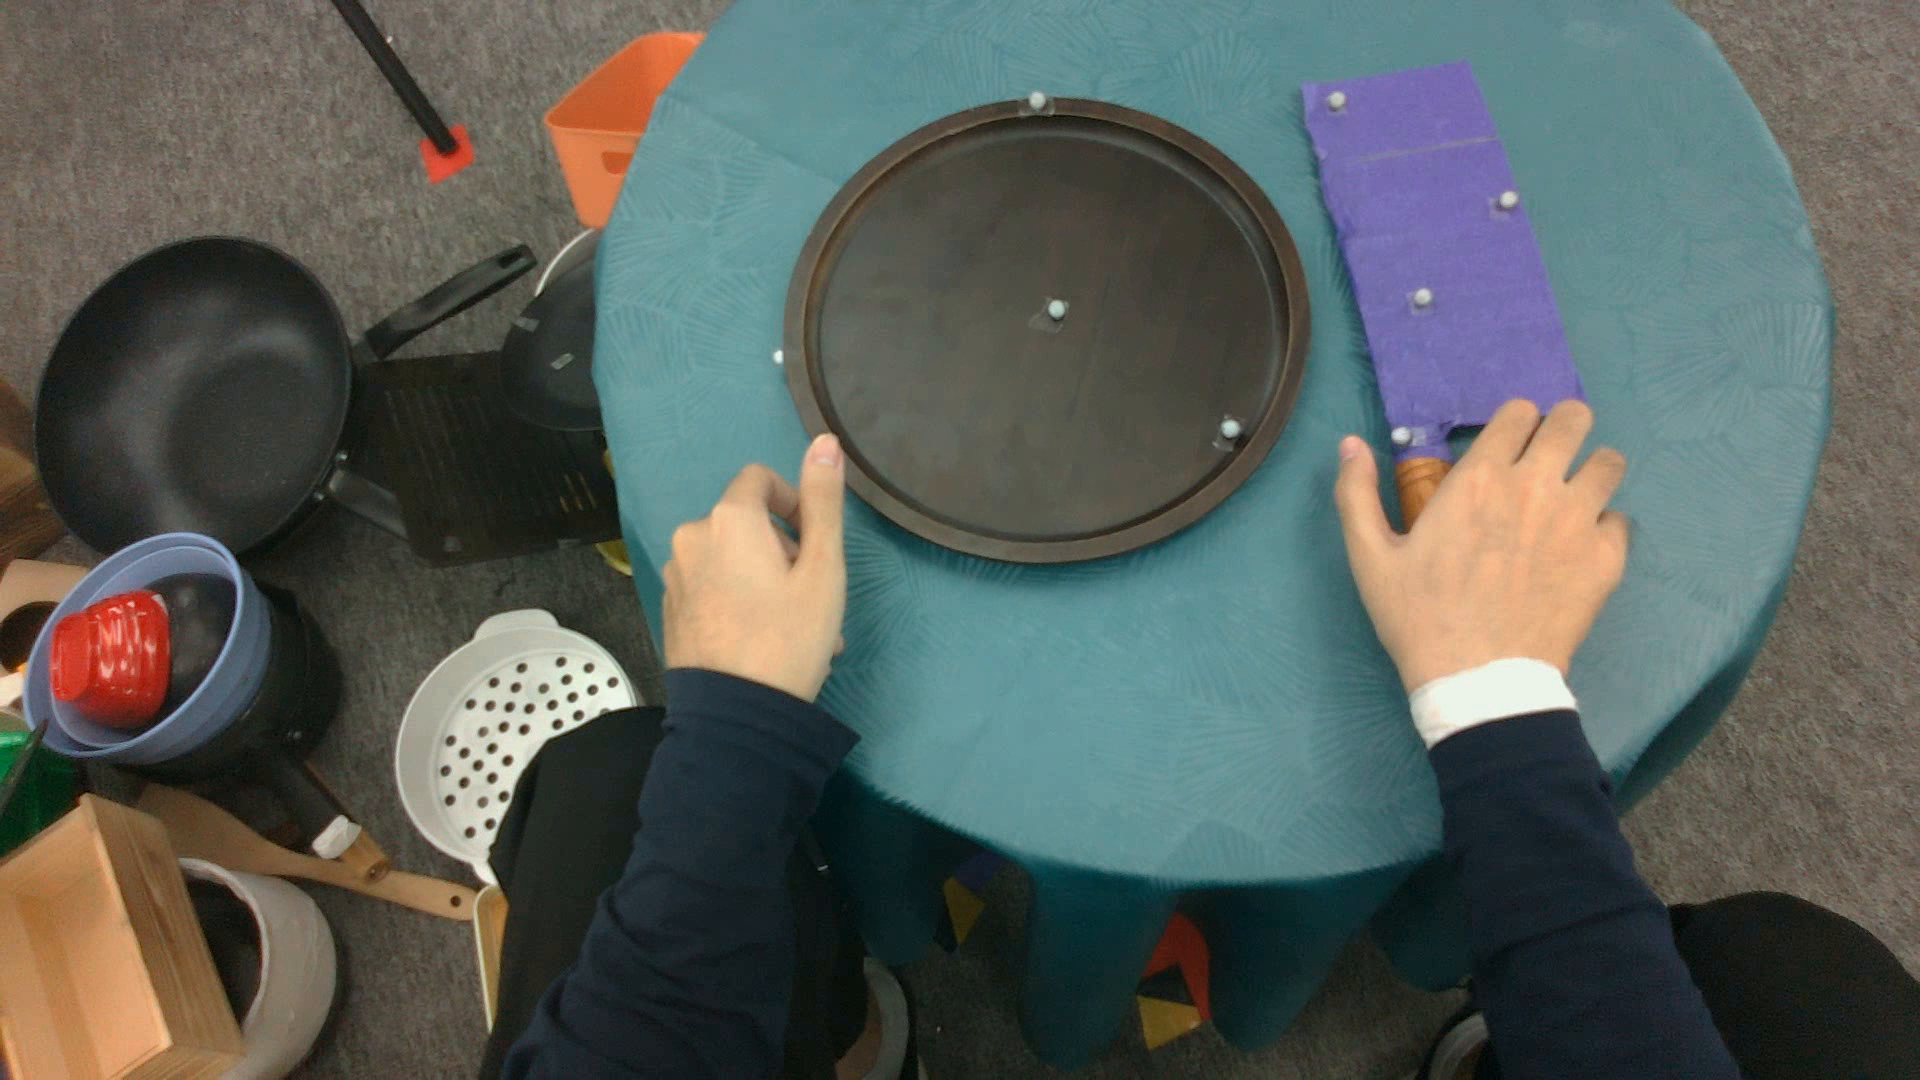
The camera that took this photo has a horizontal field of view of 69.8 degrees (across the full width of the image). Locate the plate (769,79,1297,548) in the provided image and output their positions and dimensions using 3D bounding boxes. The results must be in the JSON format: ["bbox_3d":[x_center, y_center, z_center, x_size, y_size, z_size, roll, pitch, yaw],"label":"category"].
[{"bbox_3d":[0.034,-0.113,0.667,0.255,0.029,0.255,-1,68,4],"label":"plate"}]

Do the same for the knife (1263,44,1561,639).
[{"bbox_3d":[0.227,-0.110,0.651,0.104,0.032,0.316,-8,68,1],"label":"knife"}]
